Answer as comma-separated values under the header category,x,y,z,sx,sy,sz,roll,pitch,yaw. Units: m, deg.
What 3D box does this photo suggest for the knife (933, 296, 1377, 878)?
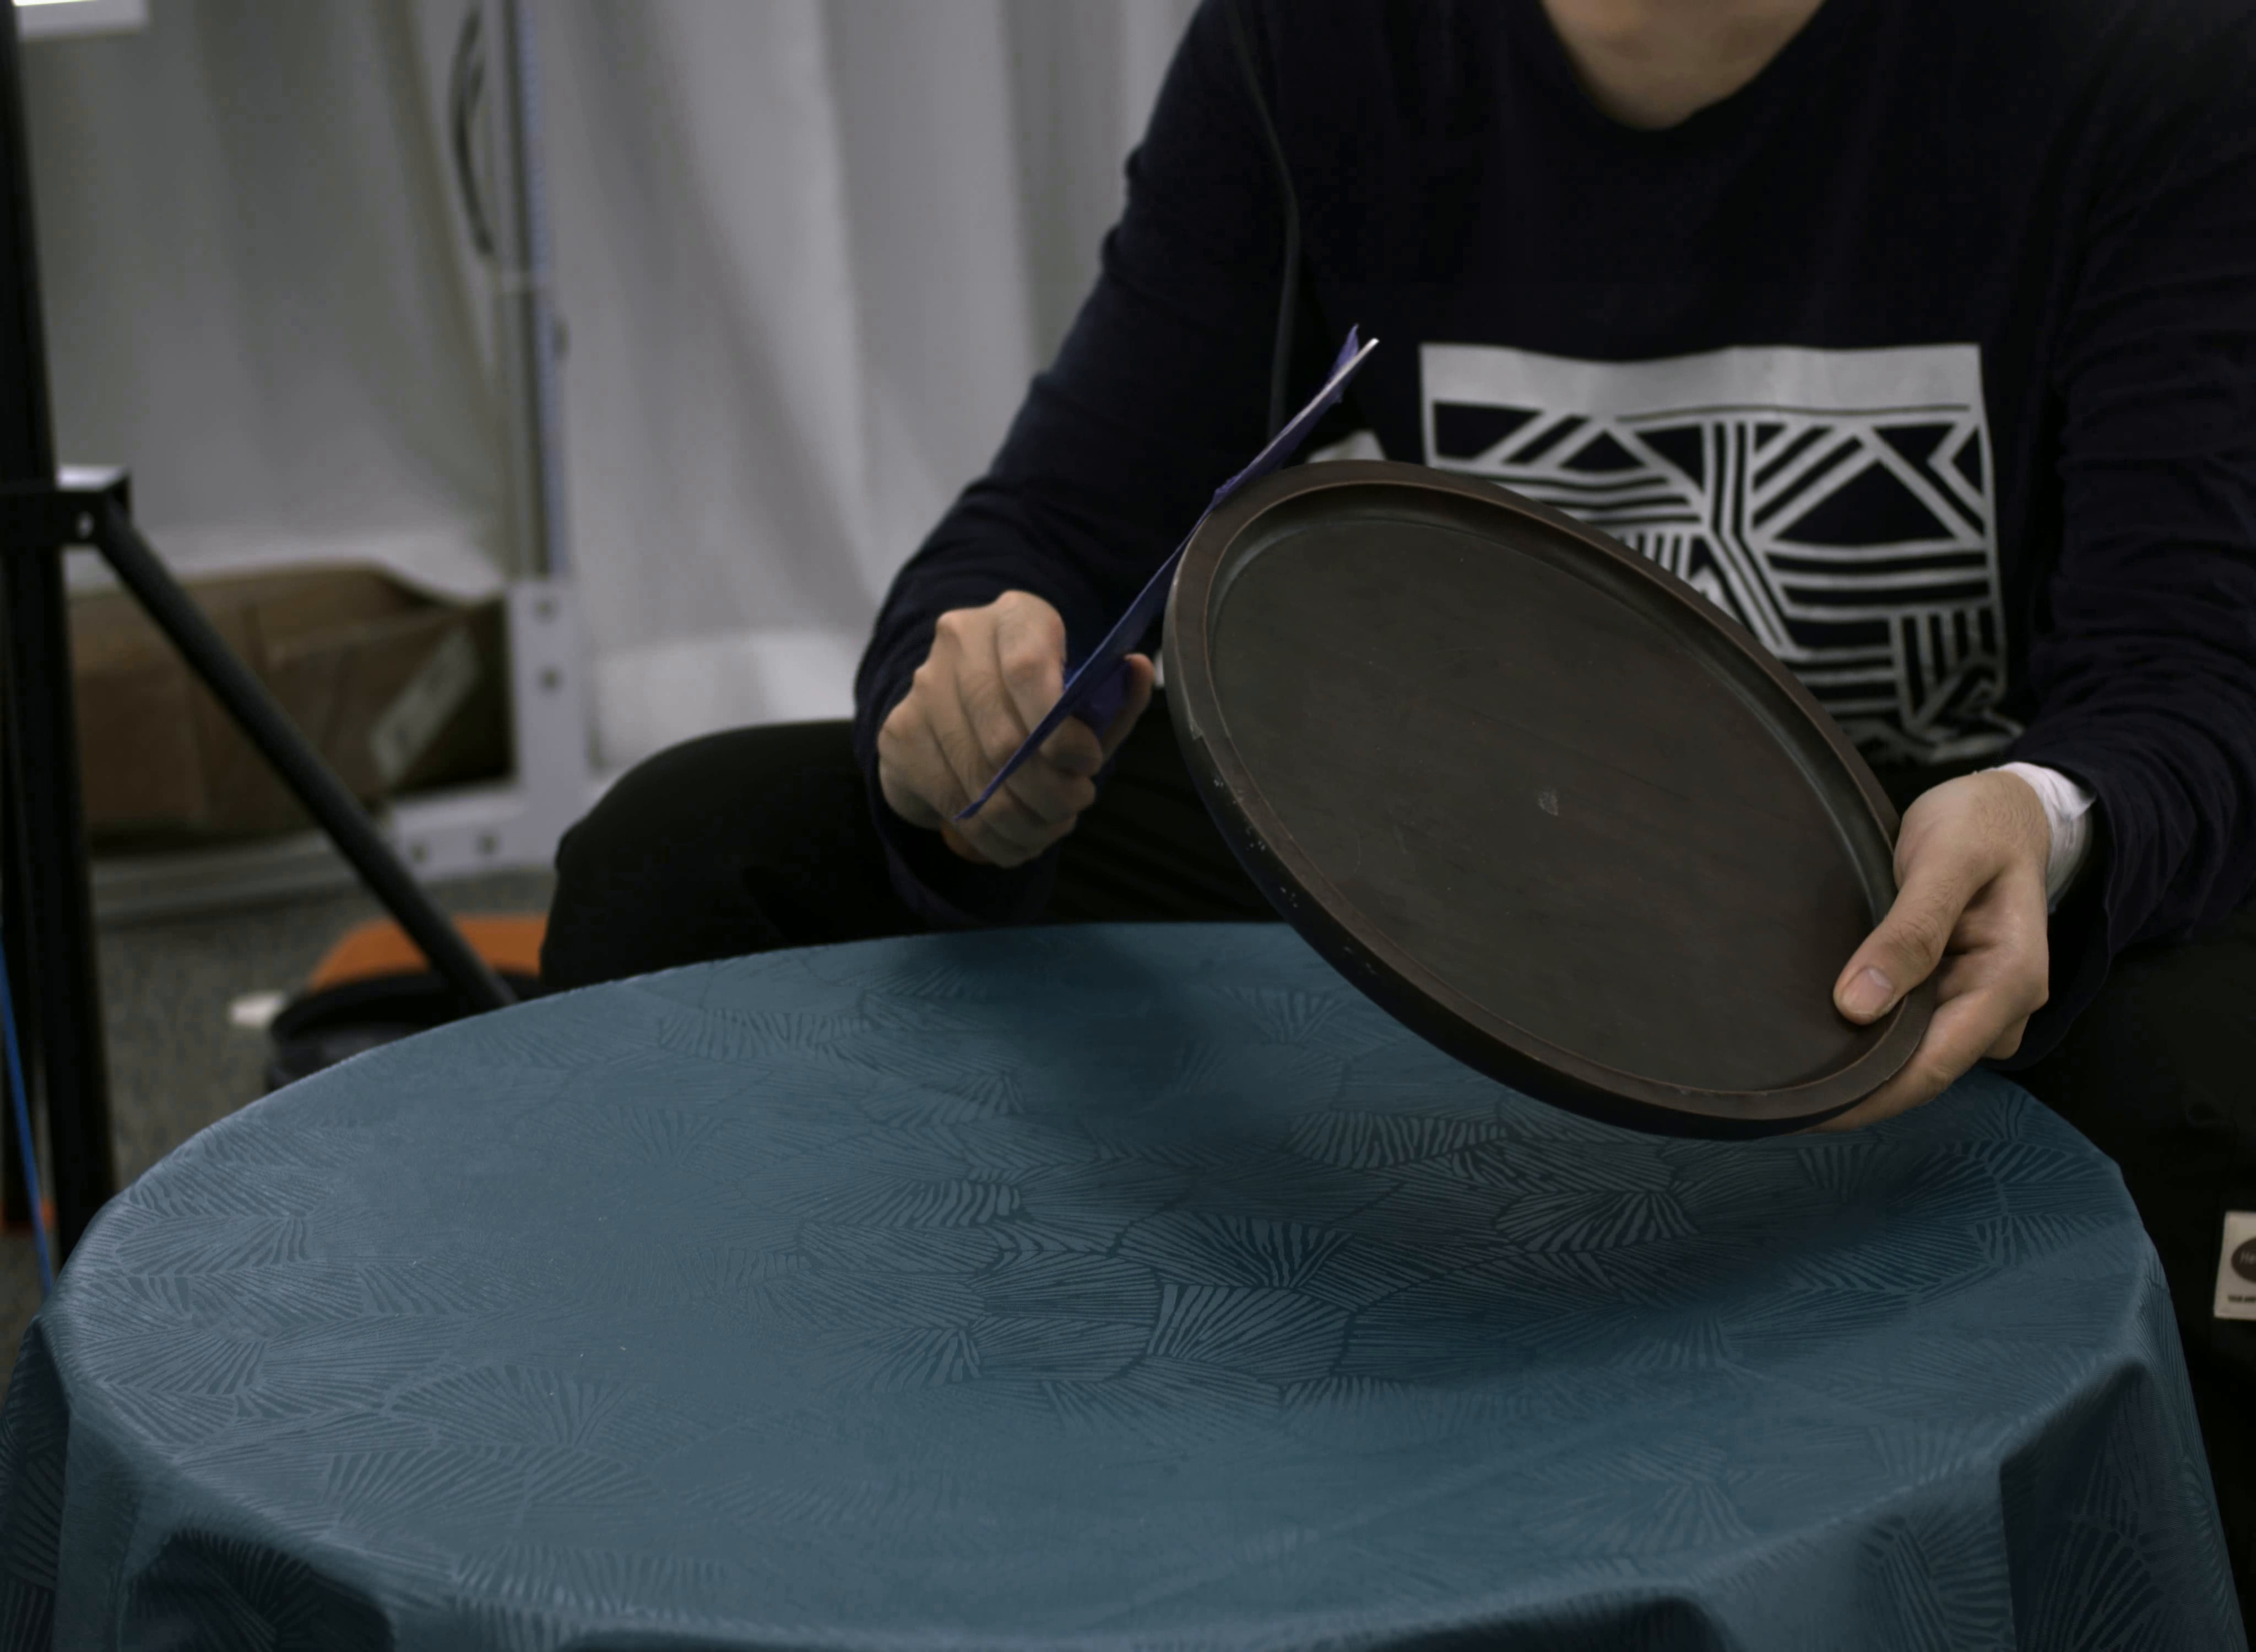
category,x,y,z,sx,sy,sz,roll,pitch,yaw
knife,-0.013,-0.053,1.665,0.032,0.317,0.103,41,53,4

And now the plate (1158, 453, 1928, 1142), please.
category,x,y,z,sx,sy,sz,roll,pitch,yaw
plate,0.118,-0.009,1.511,0.250,0.029,0.257,18,39,-17
